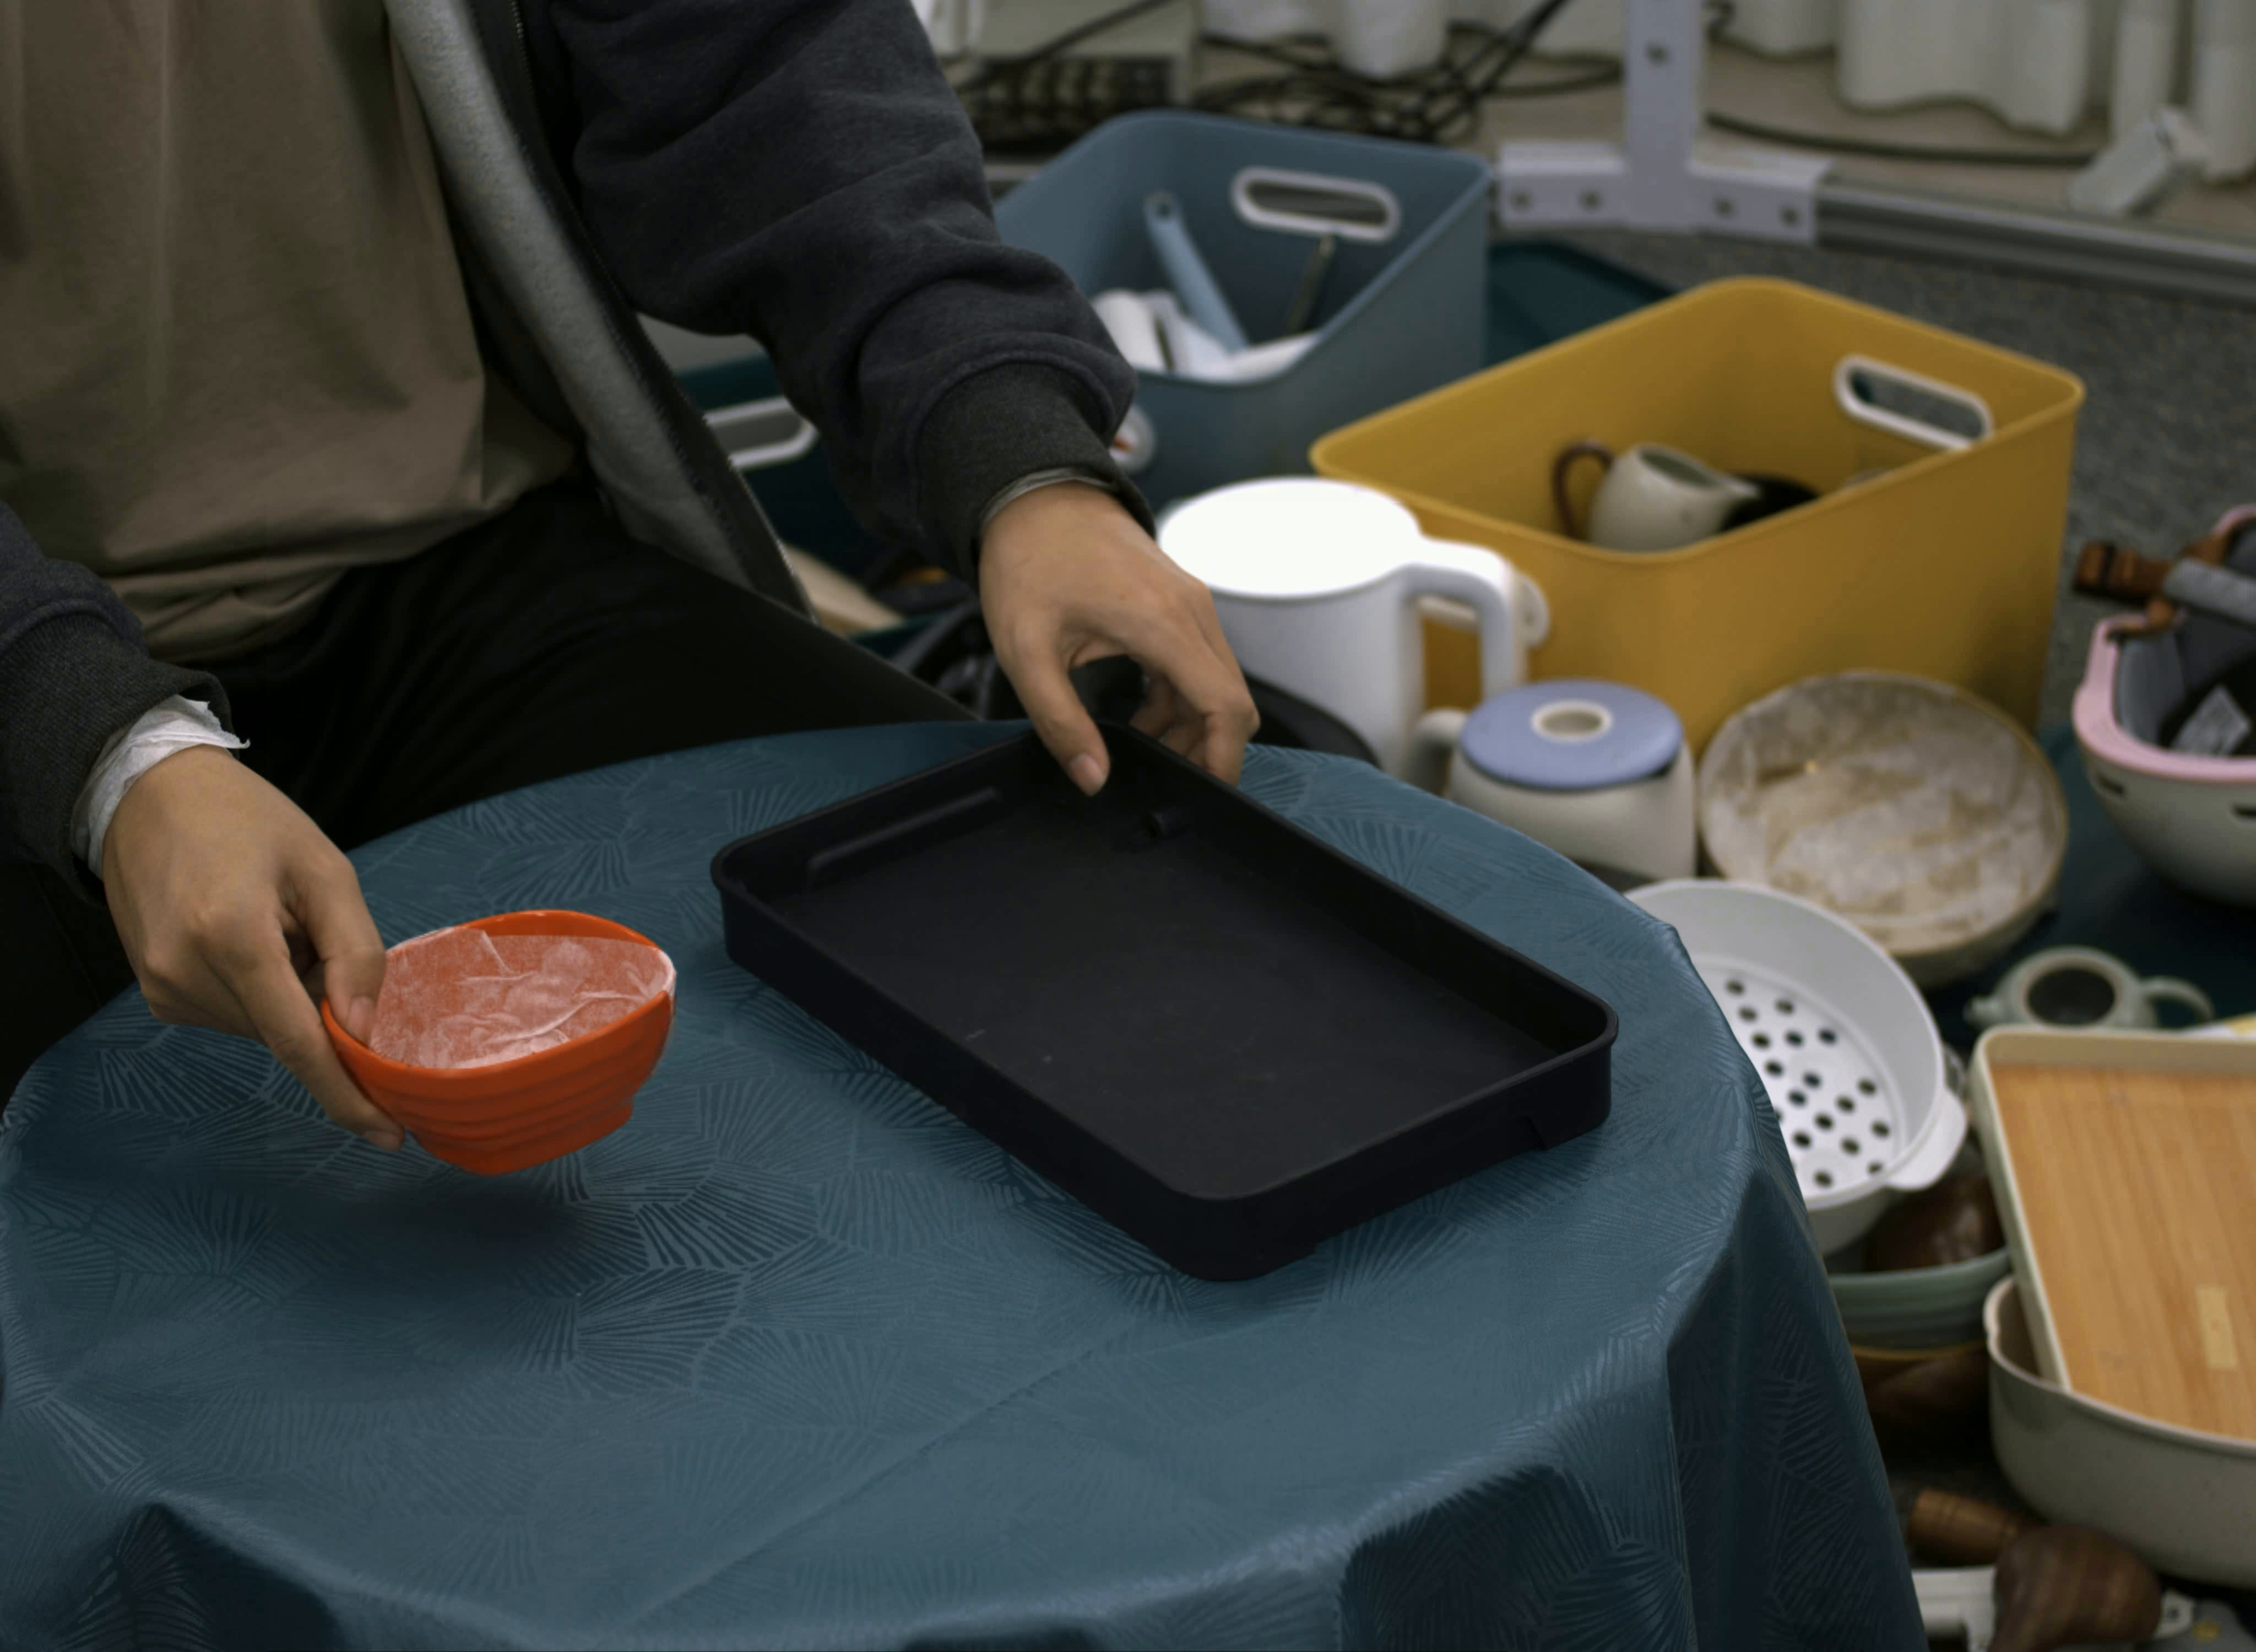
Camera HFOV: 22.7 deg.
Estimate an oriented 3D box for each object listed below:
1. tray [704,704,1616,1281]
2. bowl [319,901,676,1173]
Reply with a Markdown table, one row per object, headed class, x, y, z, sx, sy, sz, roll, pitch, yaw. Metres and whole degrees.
| class | x | y | z | sx | sy | sz | roll | pitch | yaw |
| --- | --- | --- | --- | --- | --- | --- | --- | --- | --- |
| tray | 0.006 | 0.052 | 1.954 | 0.186 | 0.036 | 0.318 | -21 | 33 | -31 |
| bowl | -0.204 | 0.073 | 1.846 | 0.118 | 0.051 | 0.120 | -5 | 25 | 3 |
